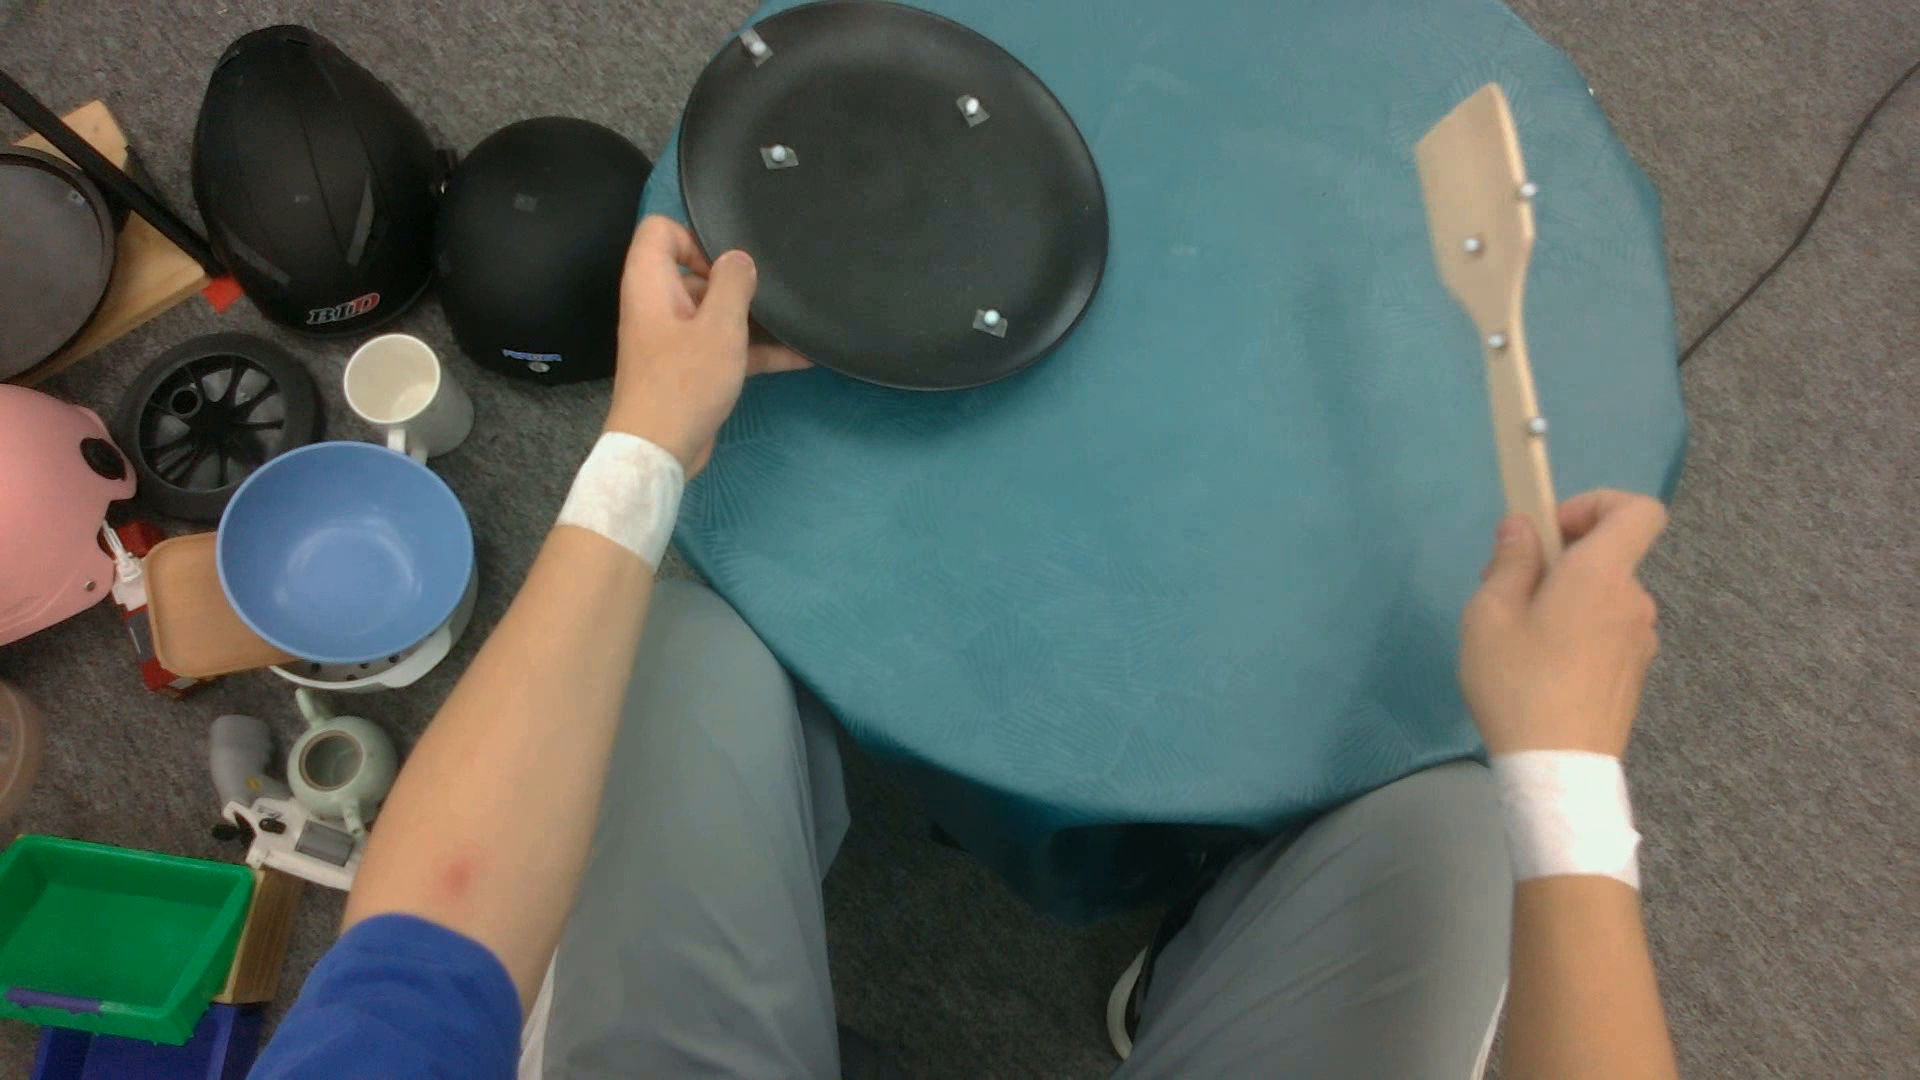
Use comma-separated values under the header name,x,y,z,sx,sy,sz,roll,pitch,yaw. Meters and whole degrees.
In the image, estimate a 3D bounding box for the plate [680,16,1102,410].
name,x,y,z,sx,sy,sz,roll,pitch,yaw
plate,-0.035,-0.184,0.771,0.245,0.023,0.245,6,71,-18

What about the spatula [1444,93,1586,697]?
name,x,y,z,sx,sy,sz,roll,pitch,yaw
spatula,0.276,-0.070,0.672,0.010,0.072,0.293,-2,79,-11
